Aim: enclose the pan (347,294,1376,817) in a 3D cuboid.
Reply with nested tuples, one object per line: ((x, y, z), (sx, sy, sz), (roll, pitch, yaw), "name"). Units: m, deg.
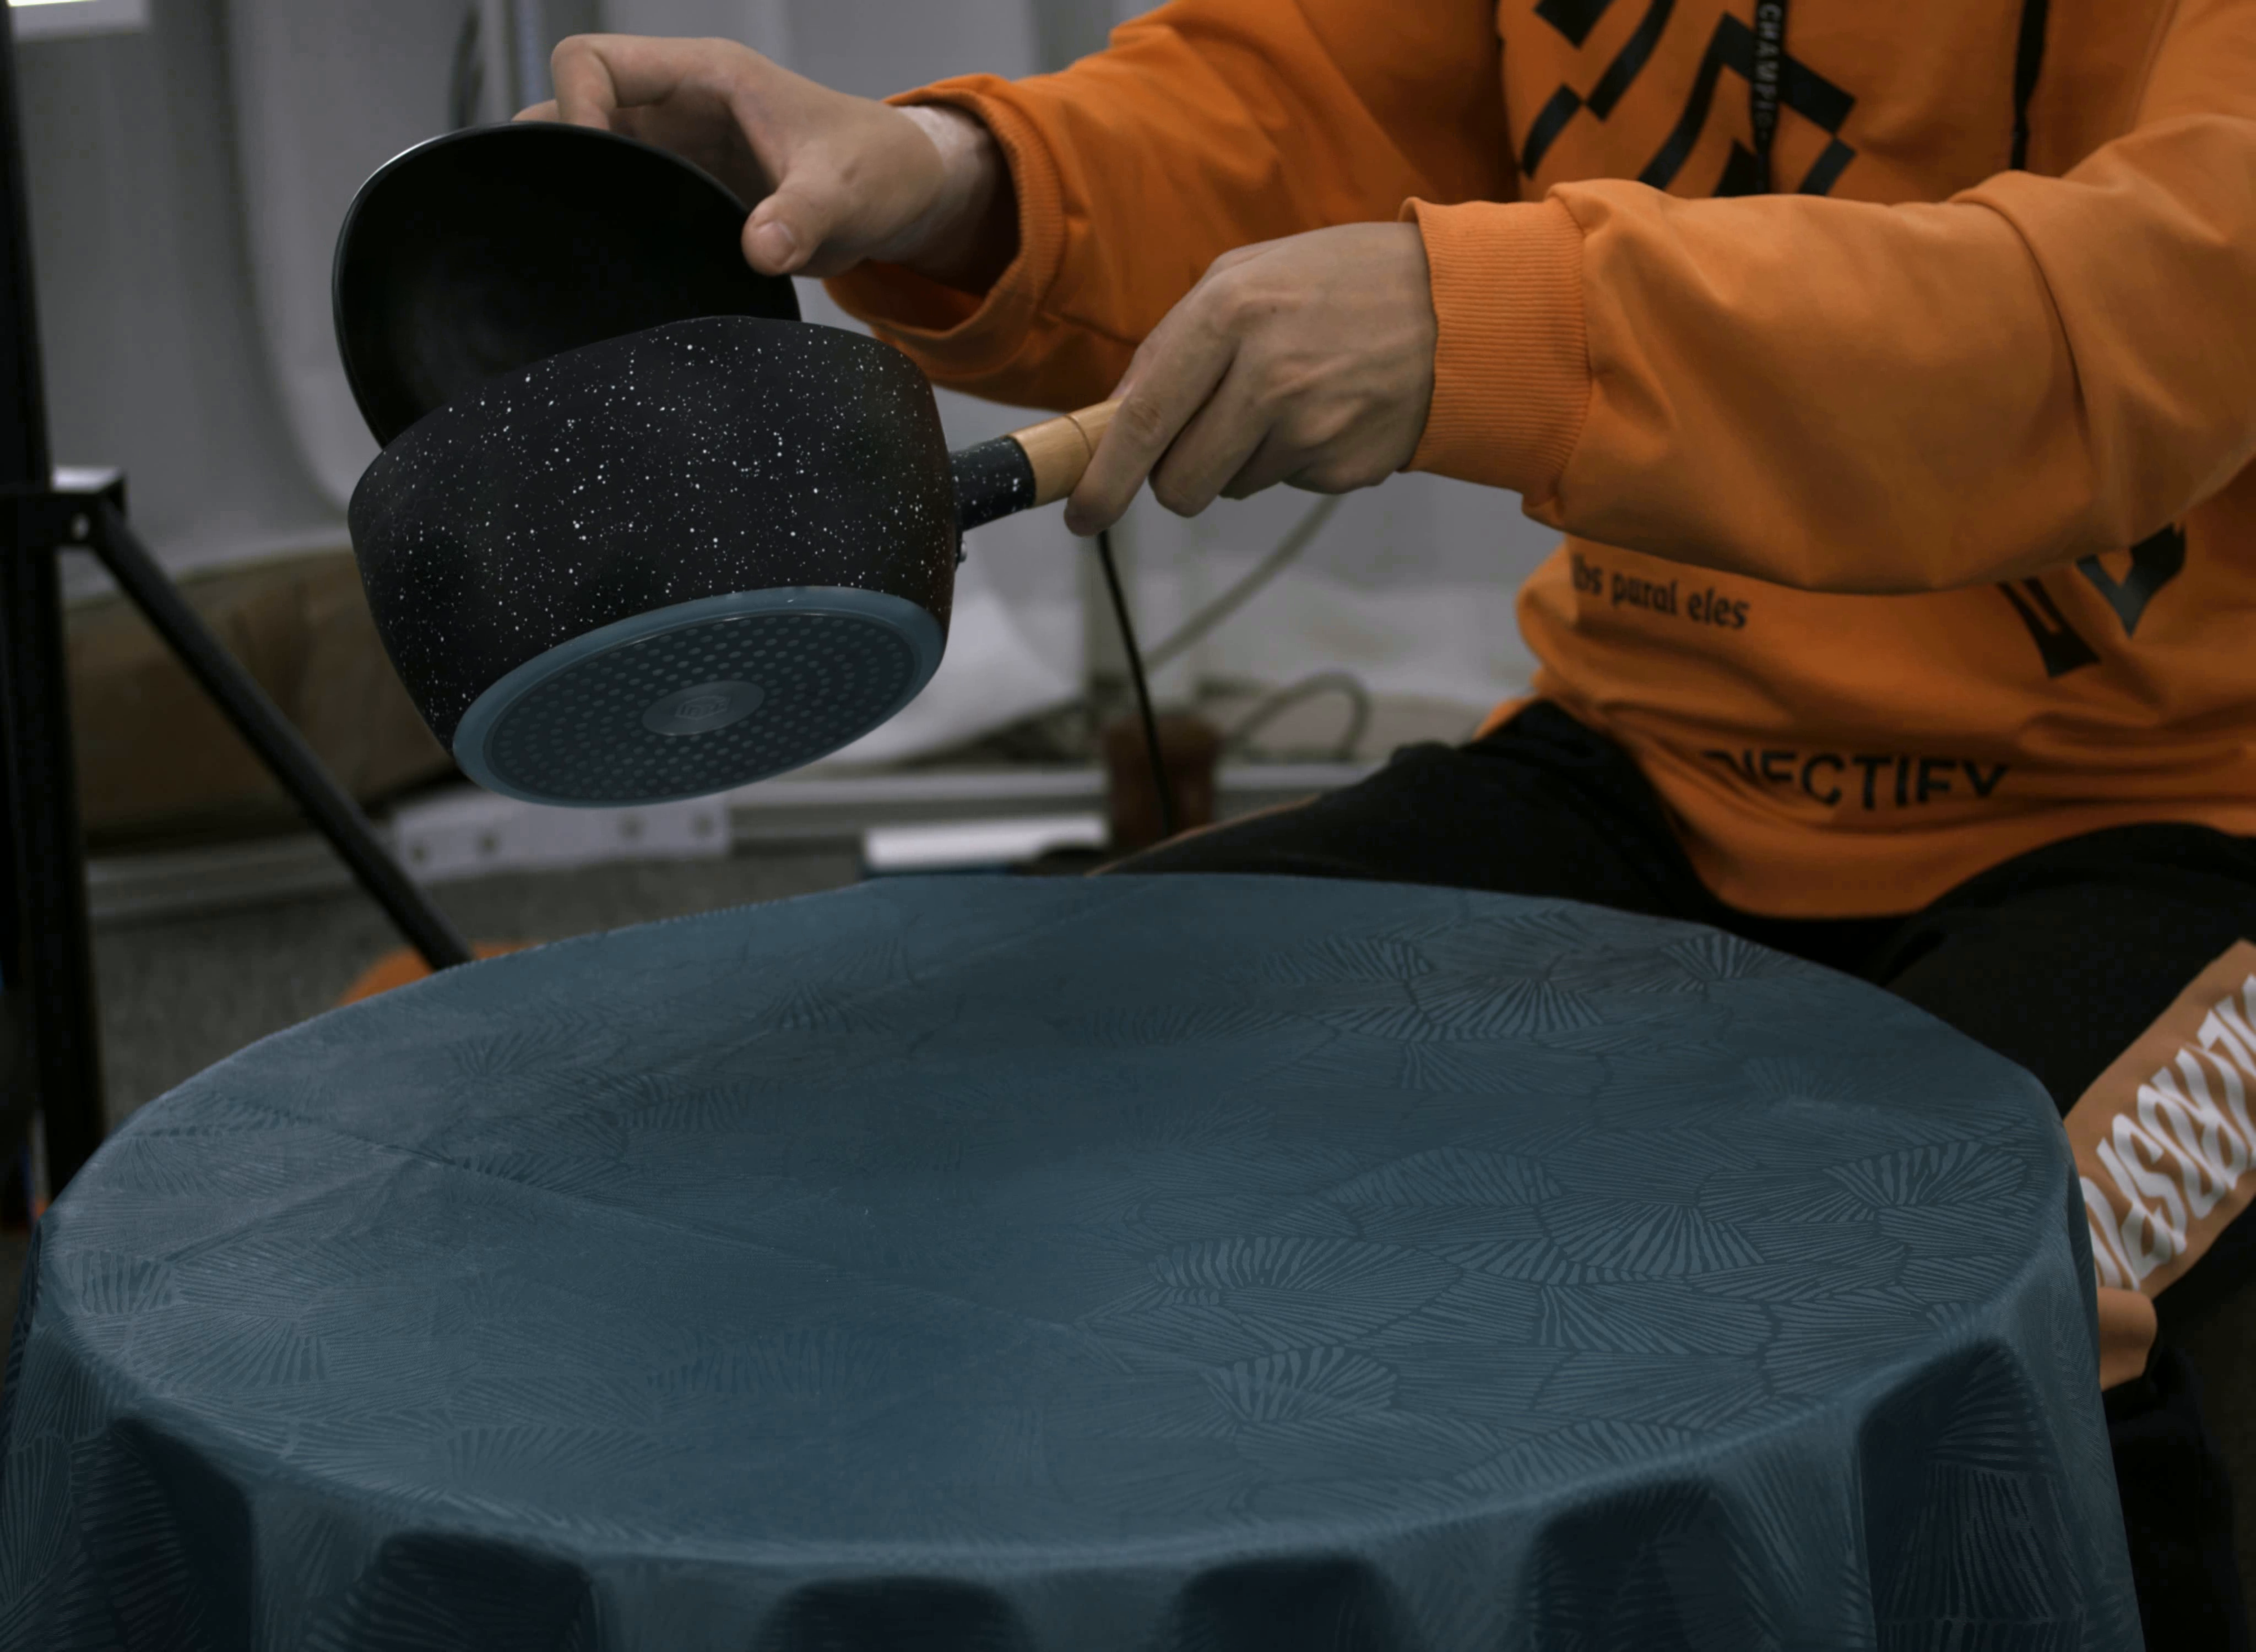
((-0.069, -0.092, 1.659), (0.336, 0.109, 0.208), (-8, -22, -21), "pan")

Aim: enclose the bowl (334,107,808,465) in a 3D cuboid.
((-0.184, -0.157, 1.694), (0.166, 0.137, 0.068), (30, -1, -31), "bowl")
